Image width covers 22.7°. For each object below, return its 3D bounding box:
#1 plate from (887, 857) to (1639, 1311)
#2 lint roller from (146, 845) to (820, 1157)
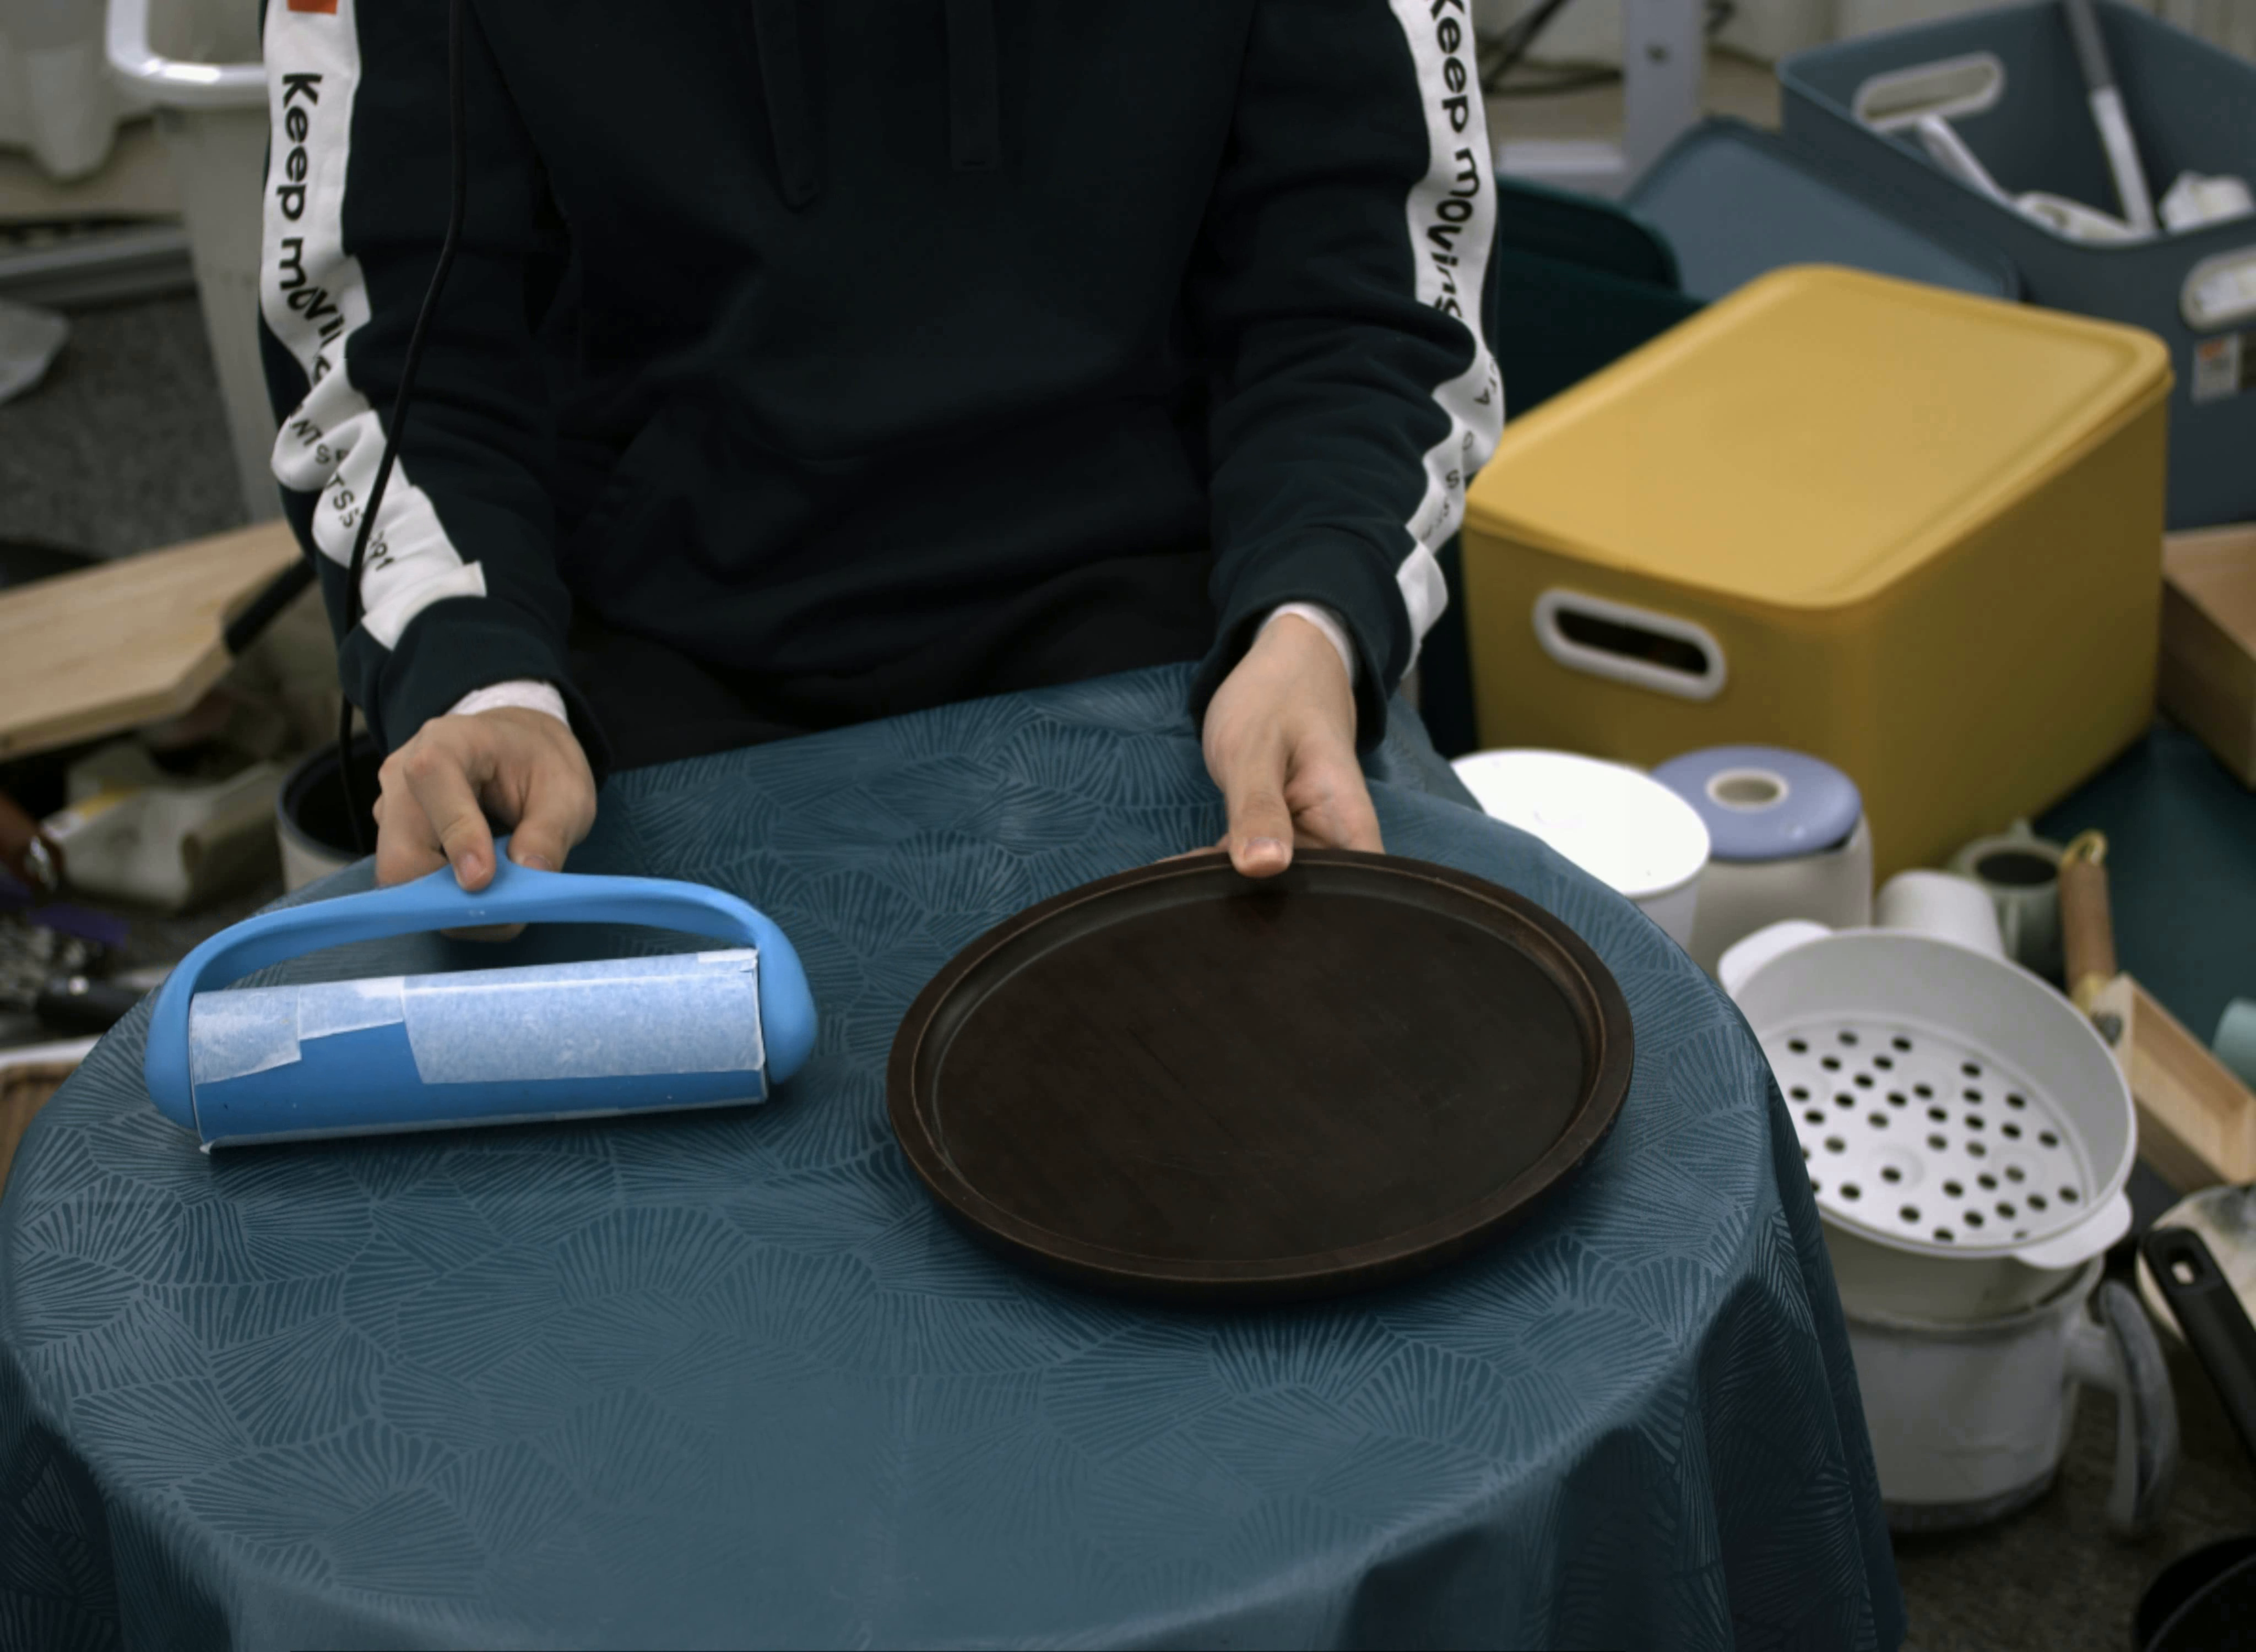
[{"bbox_3d":[0.045,0.084,1.885,0.253,0.028,0.259,-3,32,2],"label":"plate"},{"bbox_3d":[-0.226,0.044,1.959,0.228,0.067,0.183,-7,33,-4],"label":"lint roller"}]
